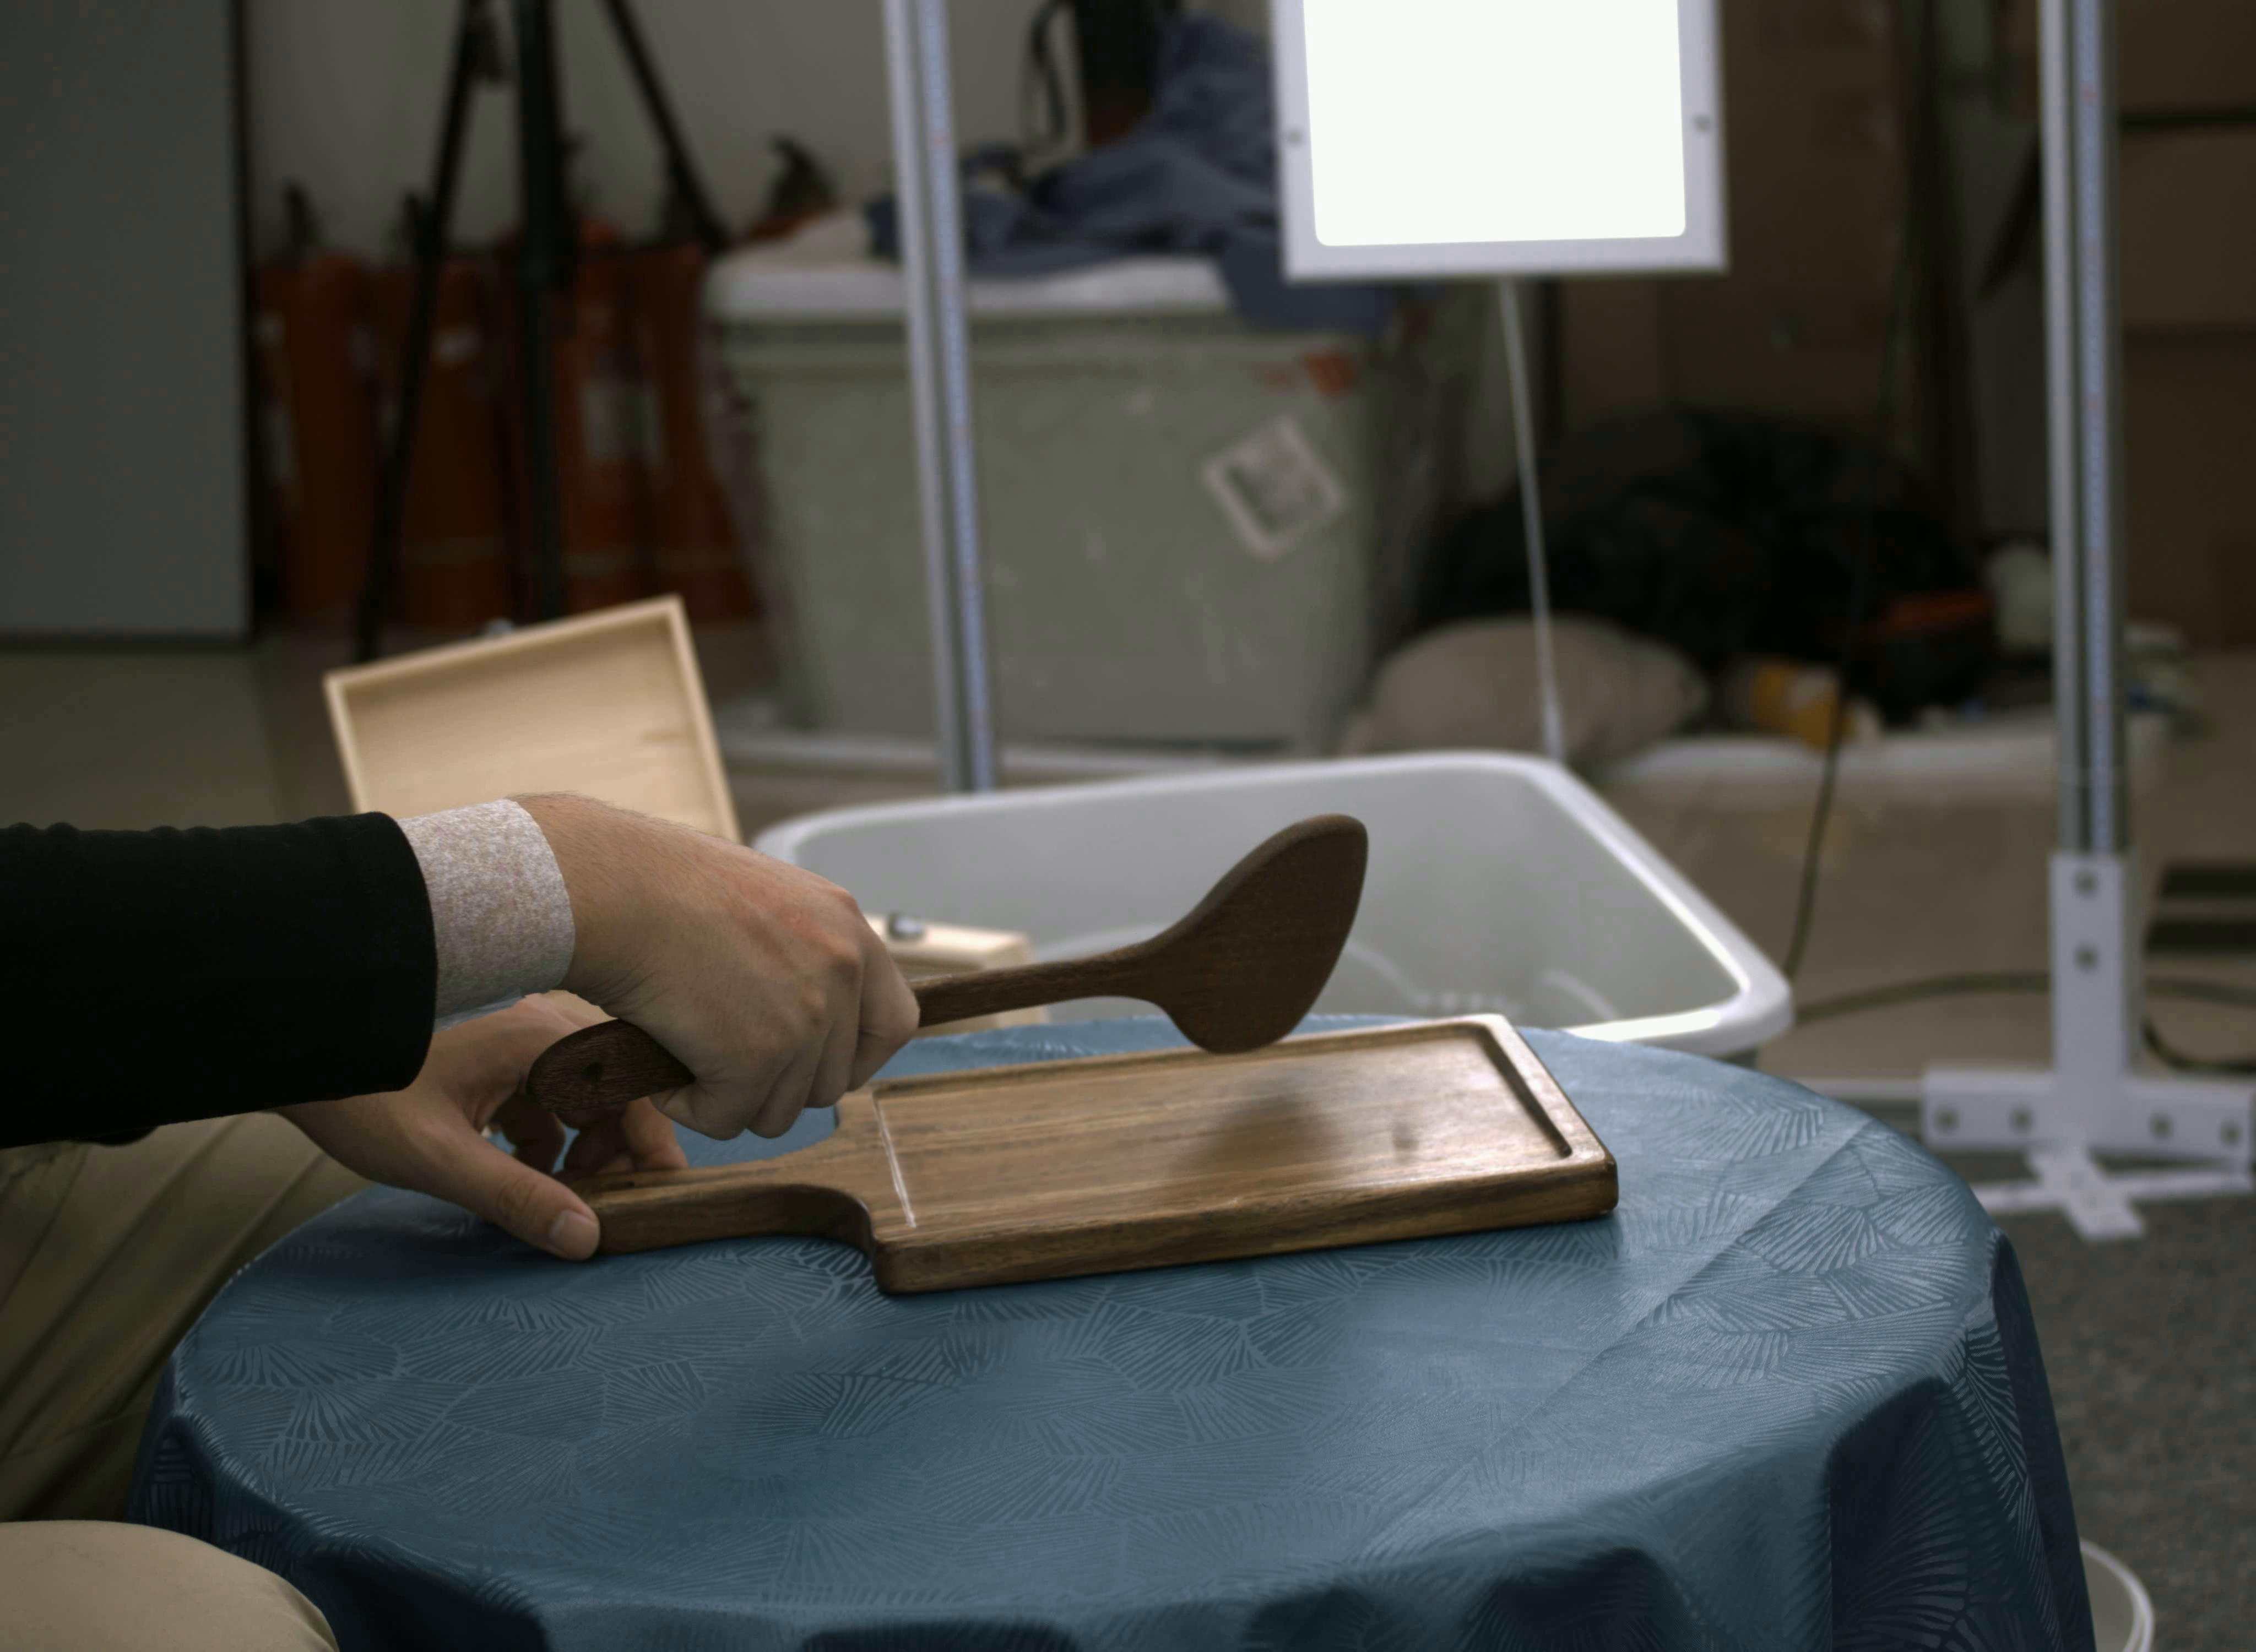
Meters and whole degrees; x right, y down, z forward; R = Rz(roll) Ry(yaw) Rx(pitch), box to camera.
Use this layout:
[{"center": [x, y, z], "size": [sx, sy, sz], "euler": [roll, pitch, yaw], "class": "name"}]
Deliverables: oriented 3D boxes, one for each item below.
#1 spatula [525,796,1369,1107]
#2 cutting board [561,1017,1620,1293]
[{"center": [-0.052, 0.053, 1.830], "size": [0.376, 0.097, 0.016], "euler": [-9, 35, -43], "class": "spatula"}, {"center": [-0.021, 0.116, 1.904], "size": [0.350, 0.023, 0.201], "euler": [-6, 13, -4], "class": "cutting board"}]
